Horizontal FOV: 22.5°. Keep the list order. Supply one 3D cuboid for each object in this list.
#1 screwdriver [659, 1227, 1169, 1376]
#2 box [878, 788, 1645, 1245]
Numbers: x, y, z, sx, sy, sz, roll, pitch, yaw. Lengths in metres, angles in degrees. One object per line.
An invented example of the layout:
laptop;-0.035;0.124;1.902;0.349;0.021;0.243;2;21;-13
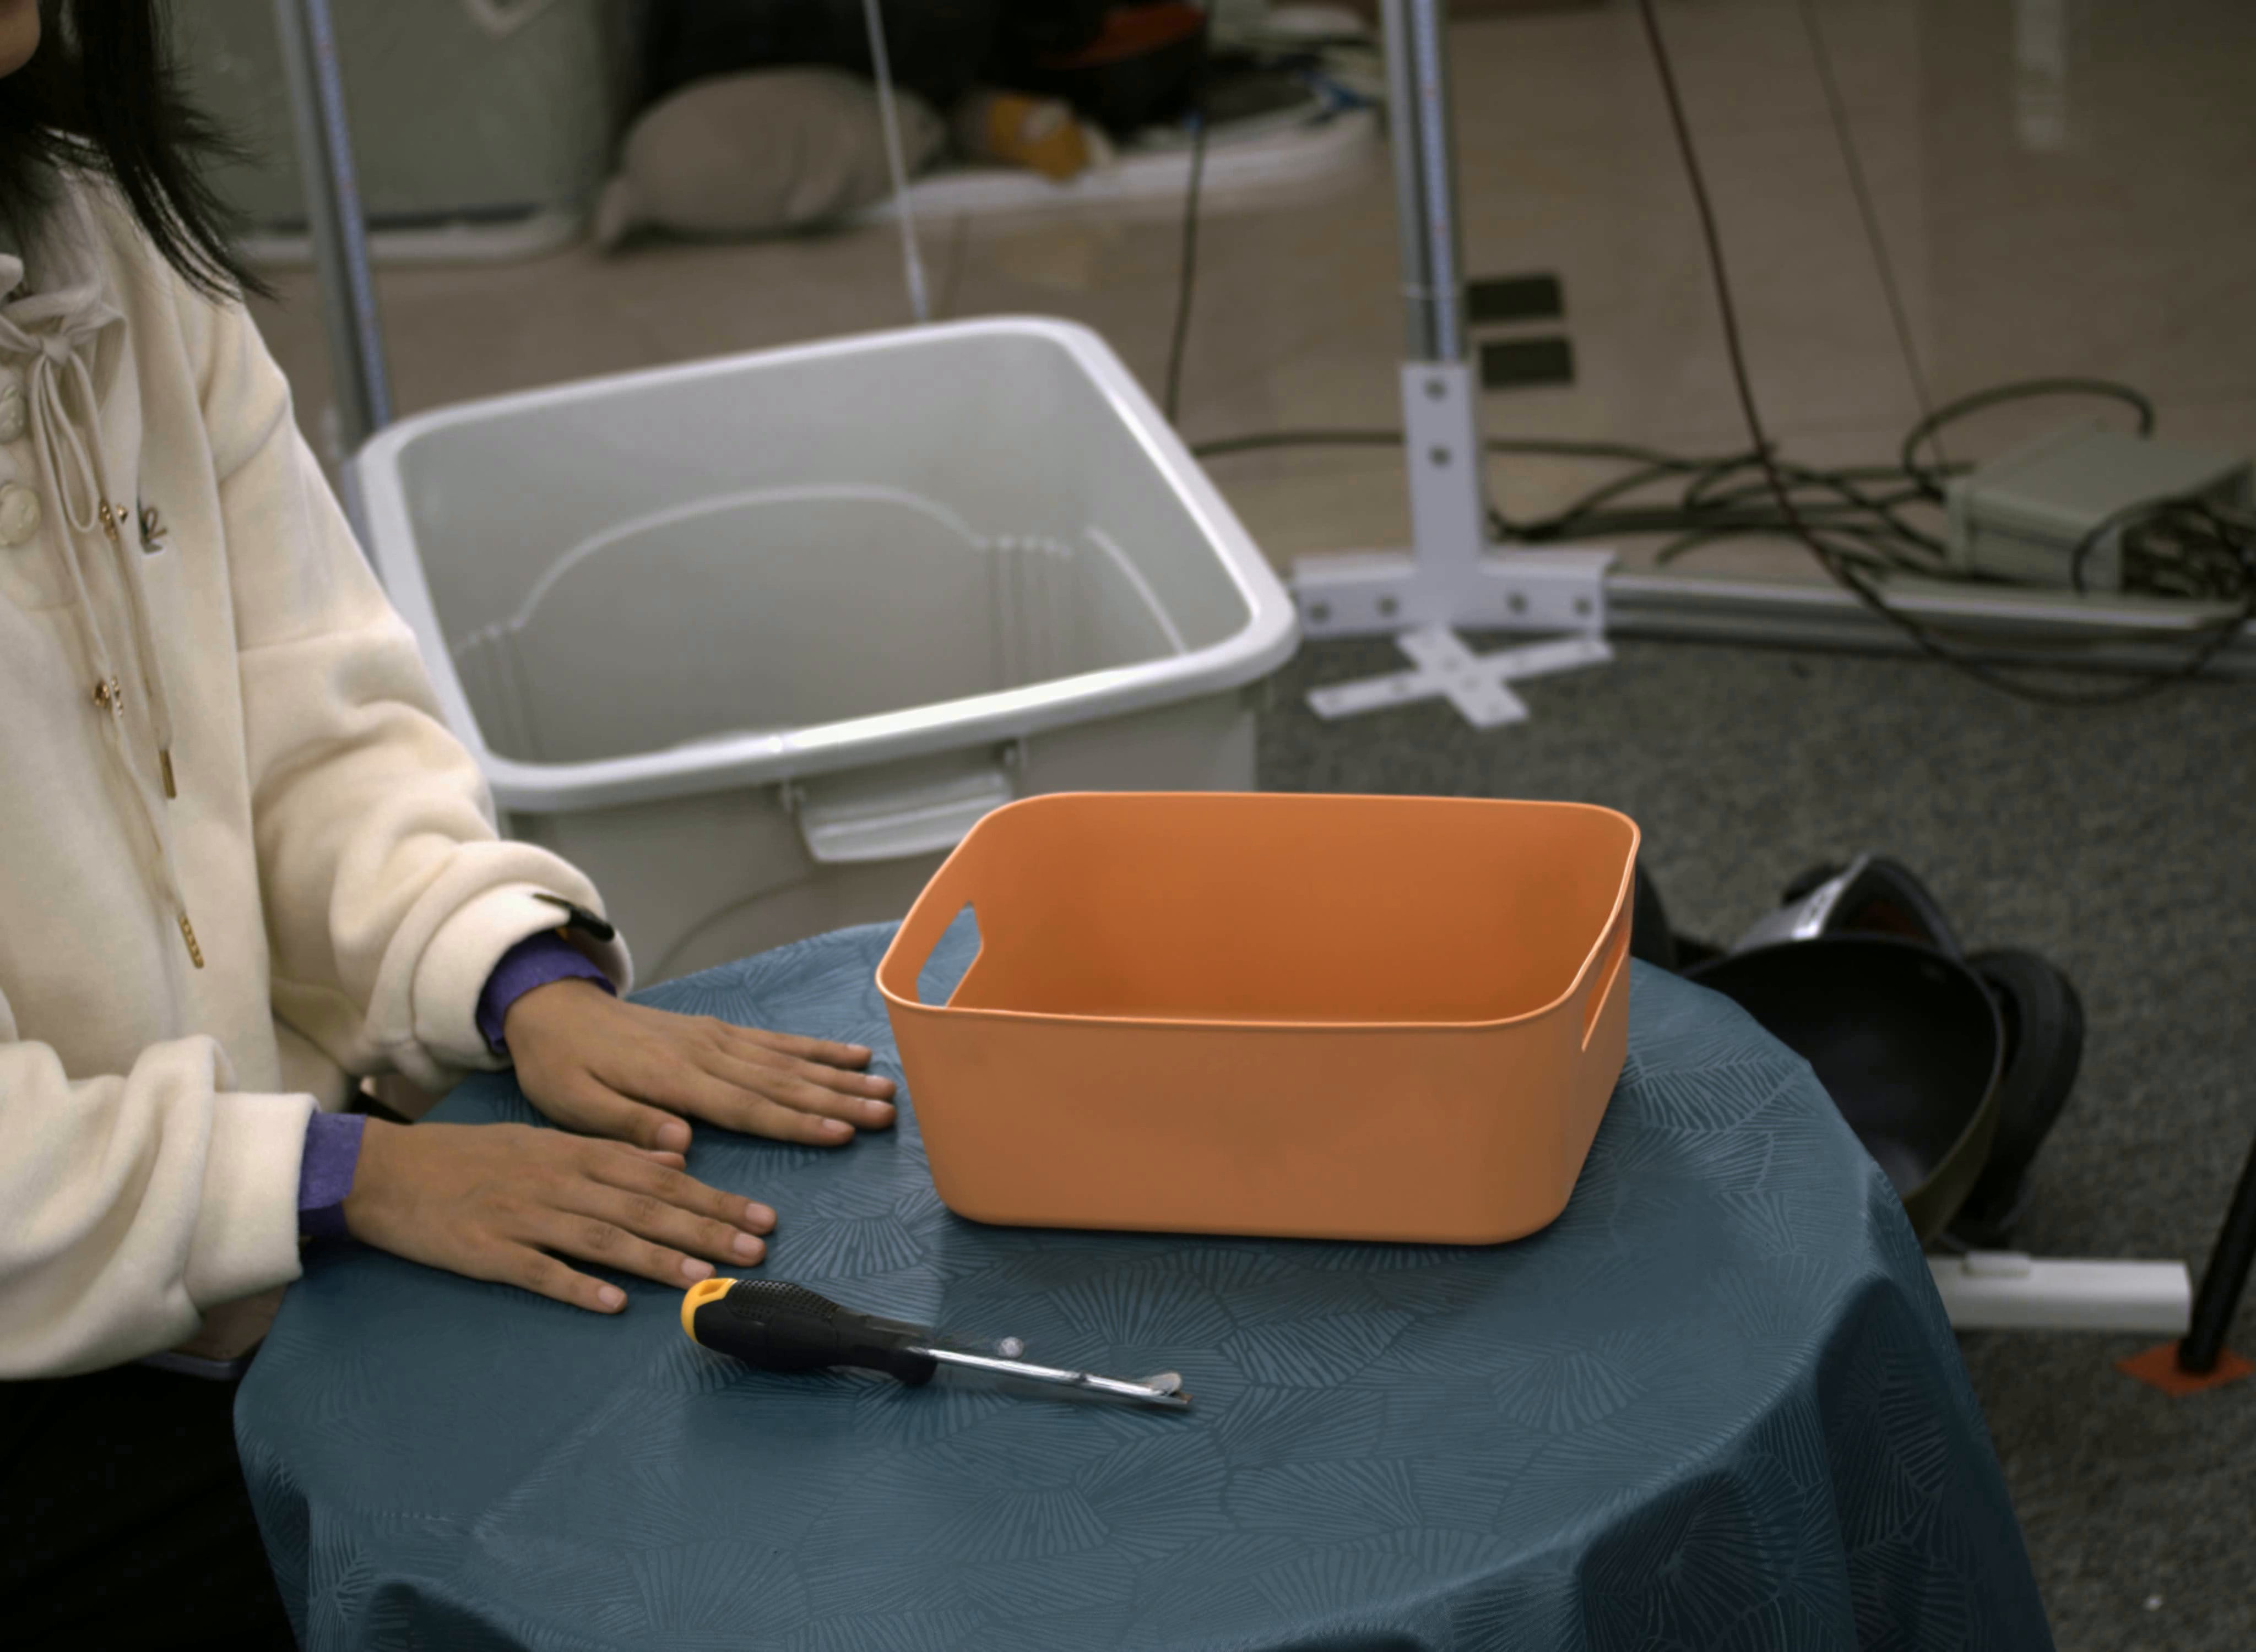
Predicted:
screwdriver;-0.076;0.174;2.037;0.197;0.032;0.031;11;29;16
box;0.057;0.072;2.153;0.272;0.104;0.196;1;27;16
